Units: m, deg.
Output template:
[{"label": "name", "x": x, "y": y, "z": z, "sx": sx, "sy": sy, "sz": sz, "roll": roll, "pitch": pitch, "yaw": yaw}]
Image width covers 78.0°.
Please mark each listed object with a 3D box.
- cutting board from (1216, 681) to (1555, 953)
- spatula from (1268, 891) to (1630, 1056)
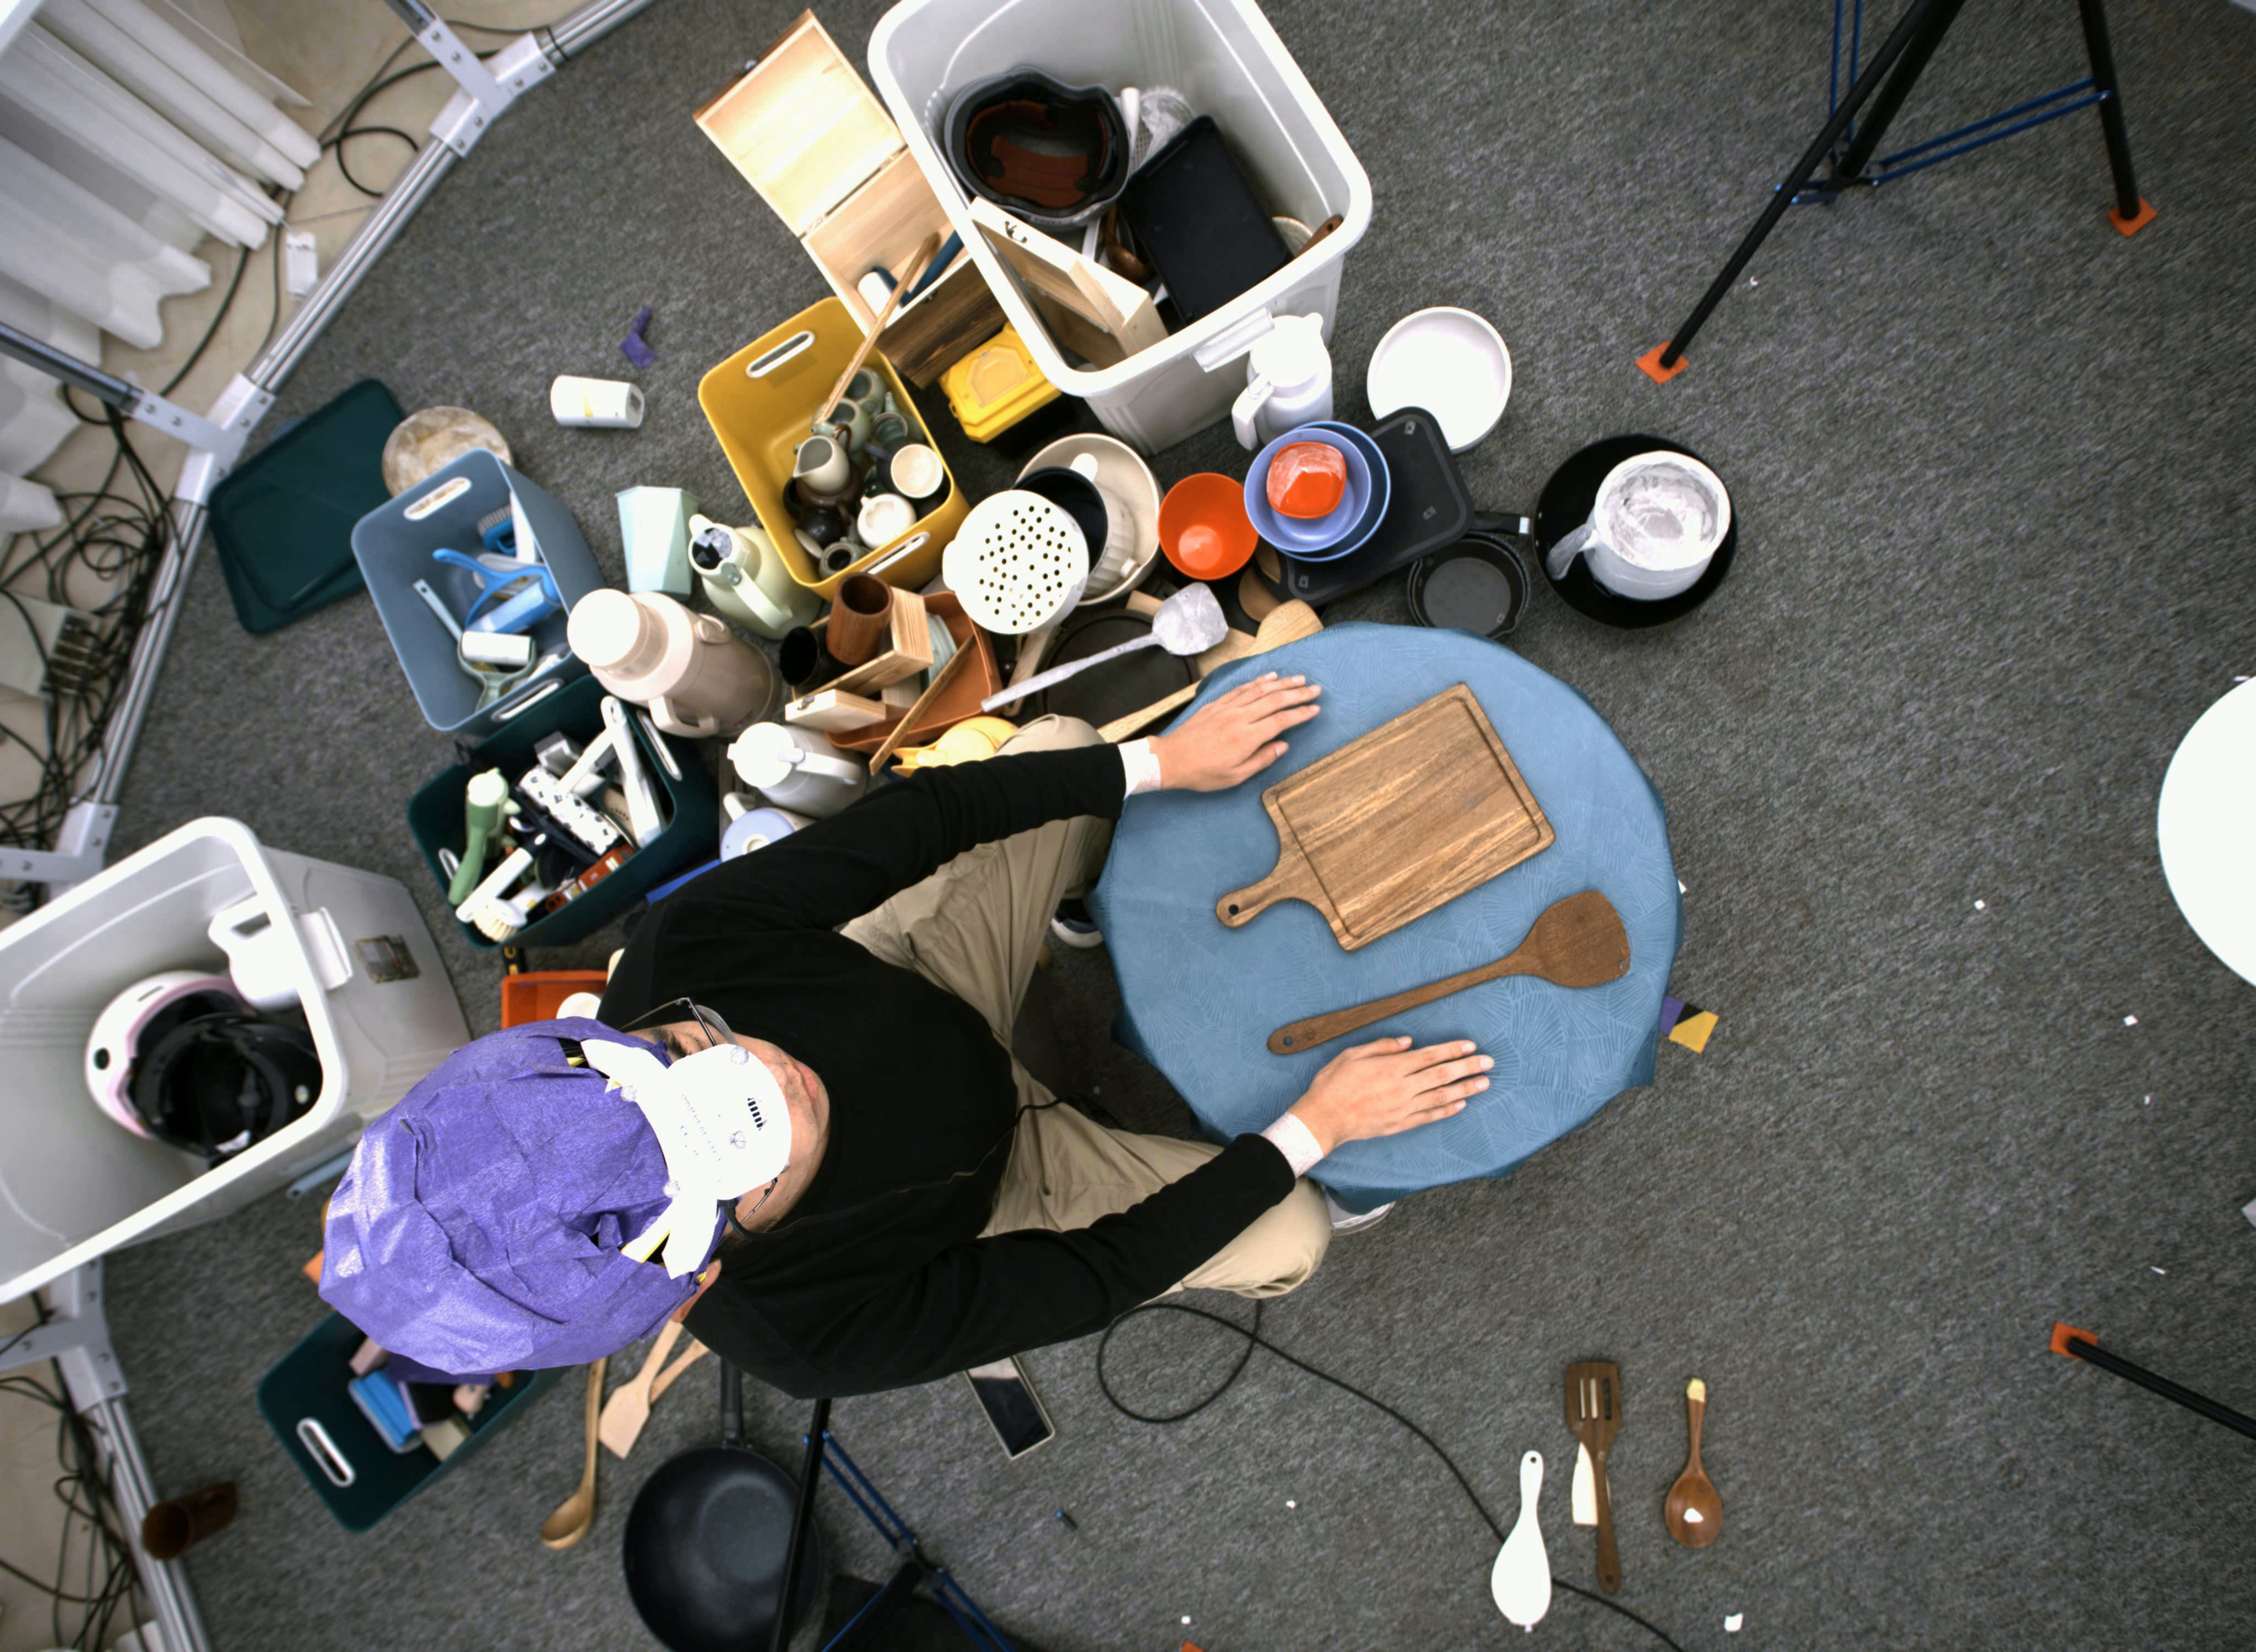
[{"label": "cutting board", "x": 0.248, "y": 0.013, "z": 1.457, "sx": 0.354, "sy": 0.023, "sz": 0.200, "roll": -30, "pitch": 82, "yaw": 8}, {"label": "spatula", "x": 0.328, "y": 0.168, "z": 1.437, "sx": 0.388, "sy": 0.016, "sz": 0.095, "roll": -20, "pitch": 83, "yaw": 9}]
